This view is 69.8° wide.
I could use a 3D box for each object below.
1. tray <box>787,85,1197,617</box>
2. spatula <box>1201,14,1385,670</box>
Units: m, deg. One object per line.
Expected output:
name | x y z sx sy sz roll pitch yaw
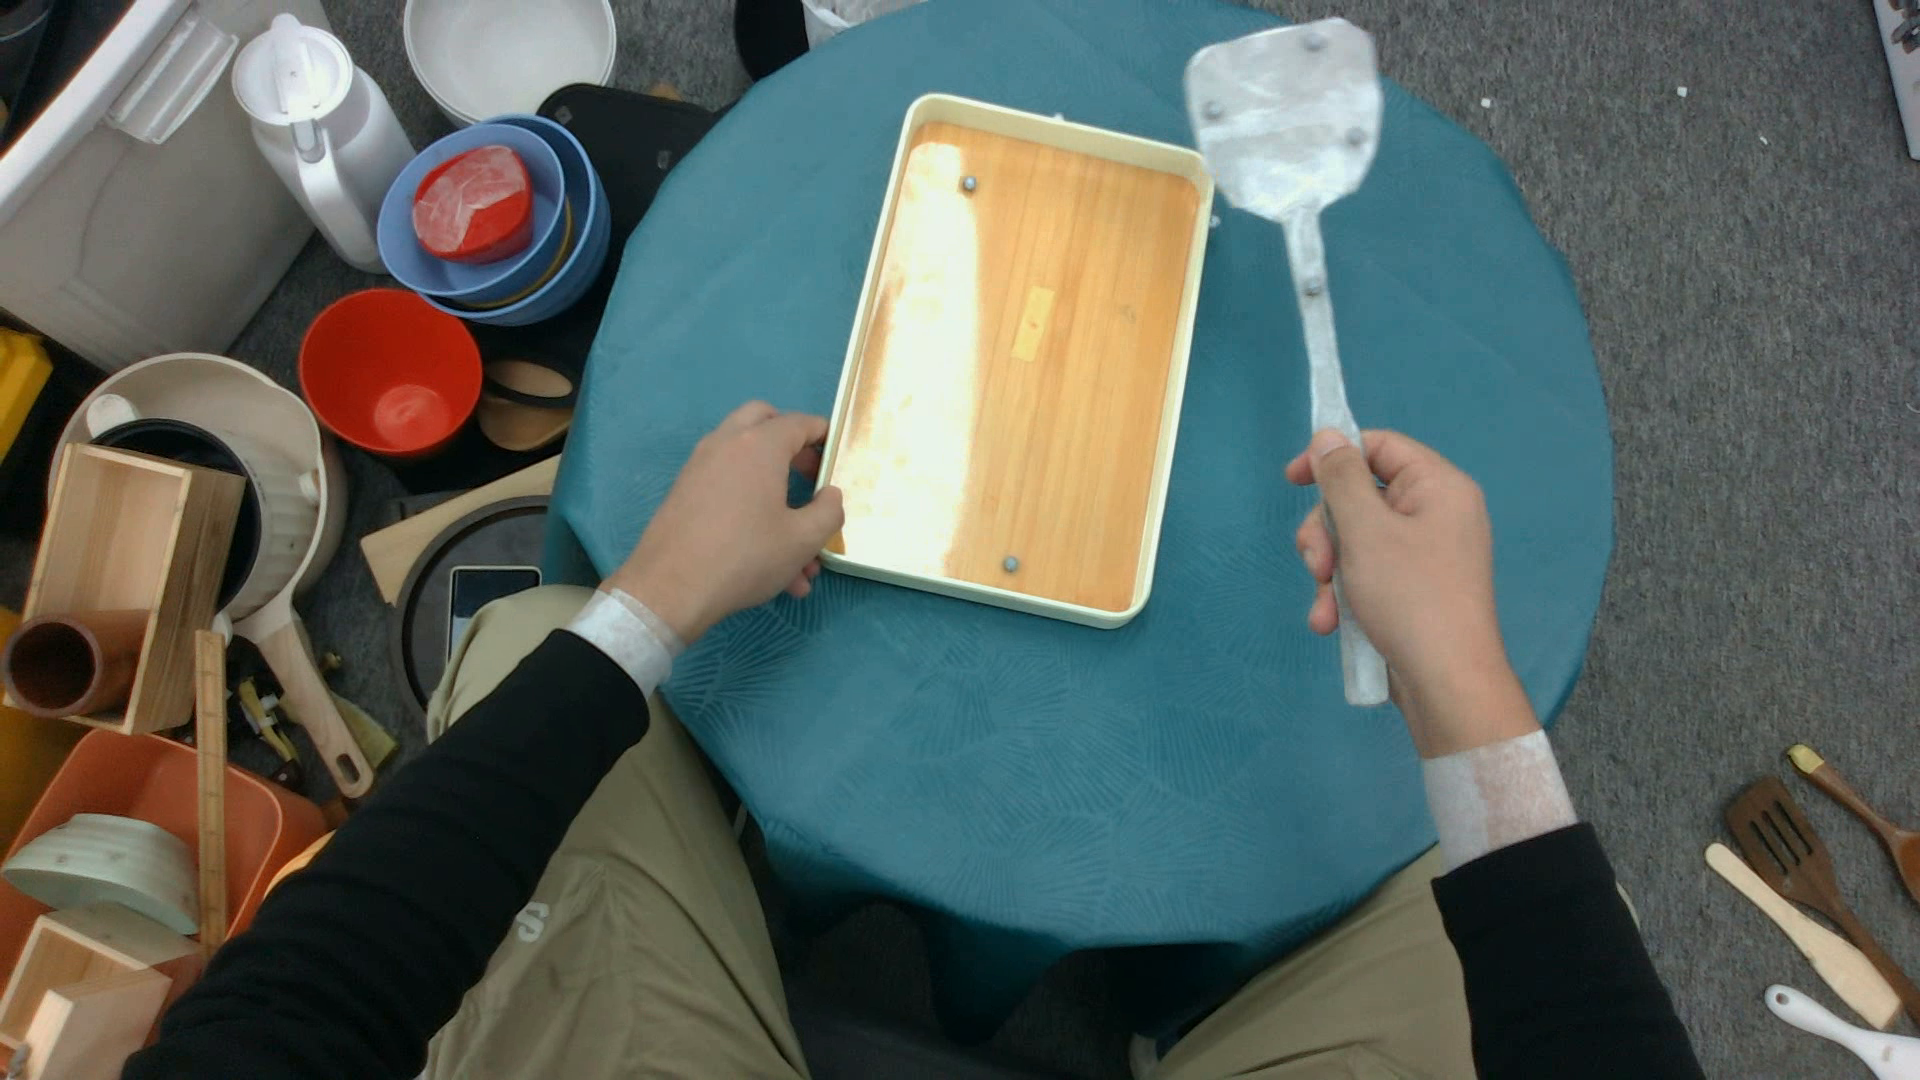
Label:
tray | 0.024 -0.115 0.793 0.191 0.027 0.301 12 71 -2
spatula | 0.173 -0.113 0.676 0.098 0.044 0.366 1 62 3
